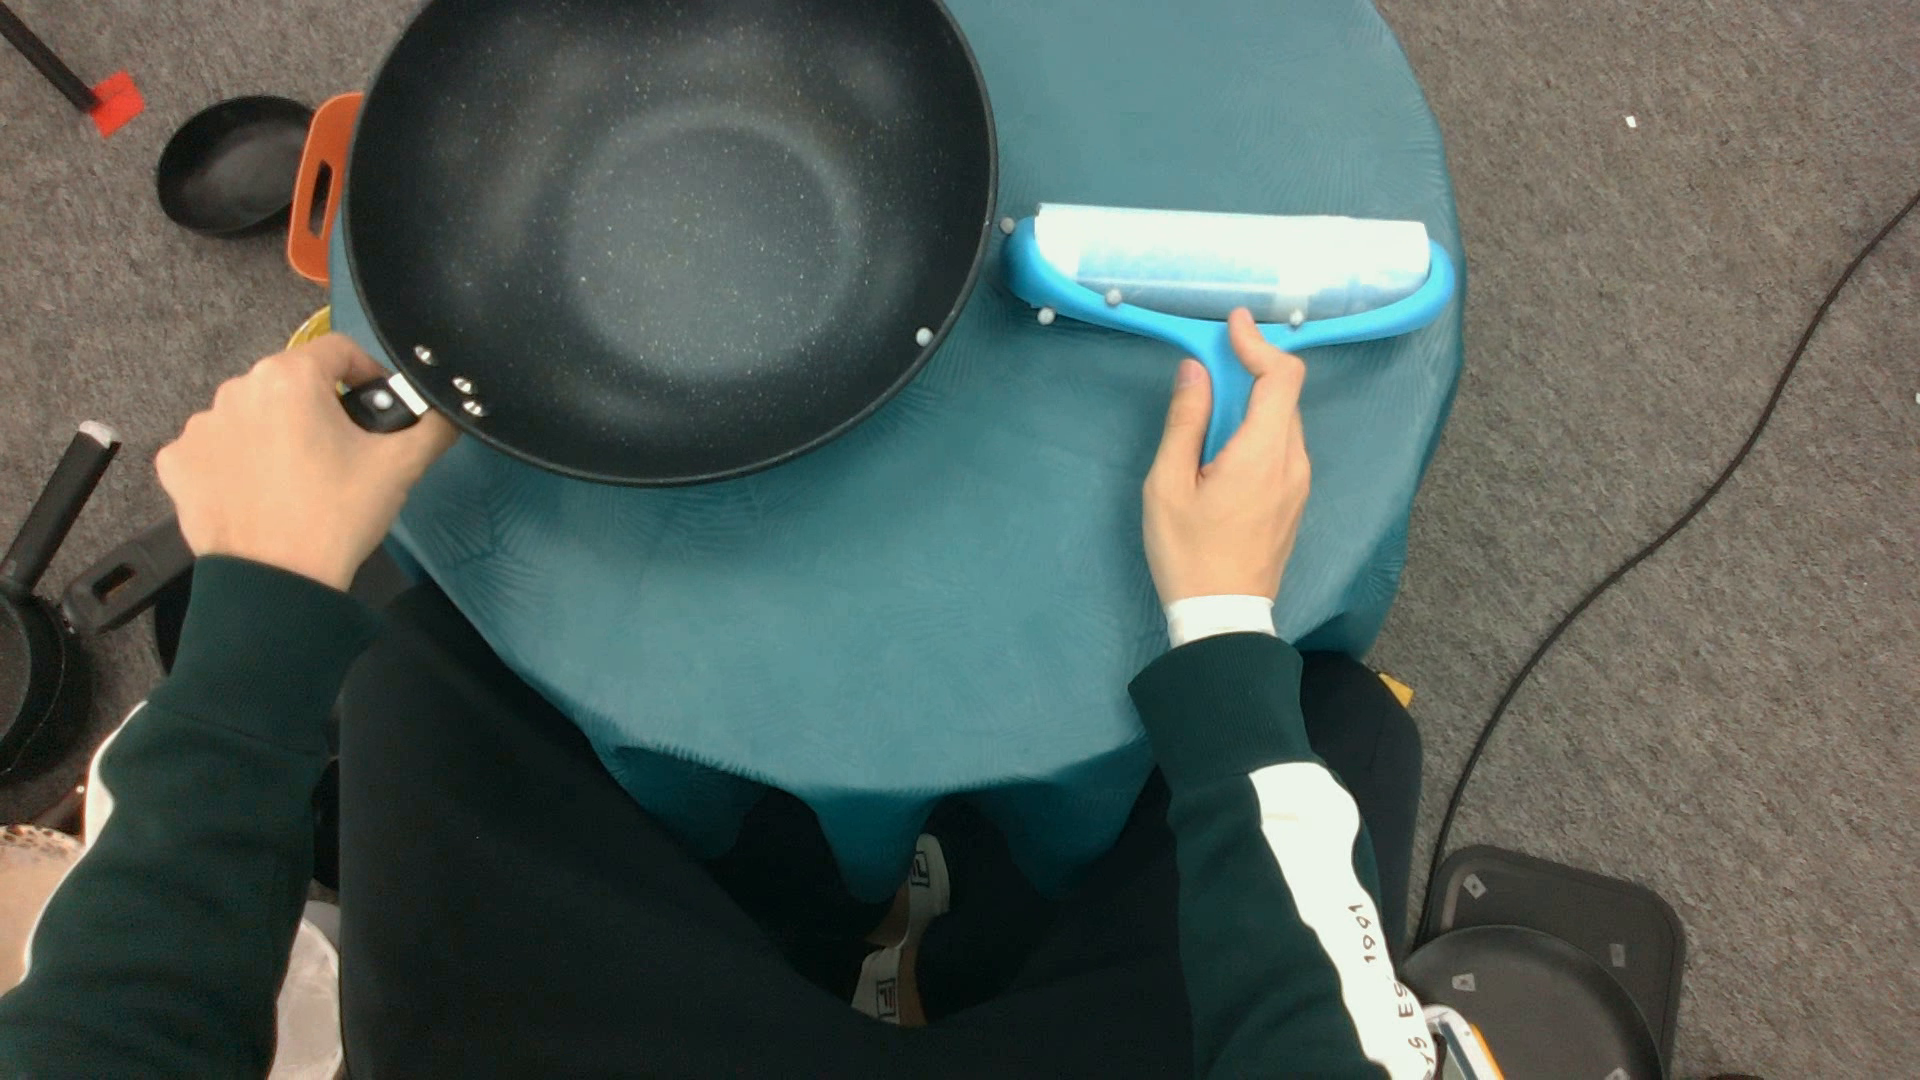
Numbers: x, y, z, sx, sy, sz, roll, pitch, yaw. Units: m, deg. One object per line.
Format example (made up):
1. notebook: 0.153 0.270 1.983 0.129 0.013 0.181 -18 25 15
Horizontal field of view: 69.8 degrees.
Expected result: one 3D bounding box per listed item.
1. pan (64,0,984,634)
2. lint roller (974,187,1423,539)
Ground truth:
1. pan: -0.201 -0.117 0.664 0.477 0.111 0.310 -44 78 -8
2. lint roller: 0.123 -0.095 0.689 0.229 0.068 0.180 -1 74 -4
